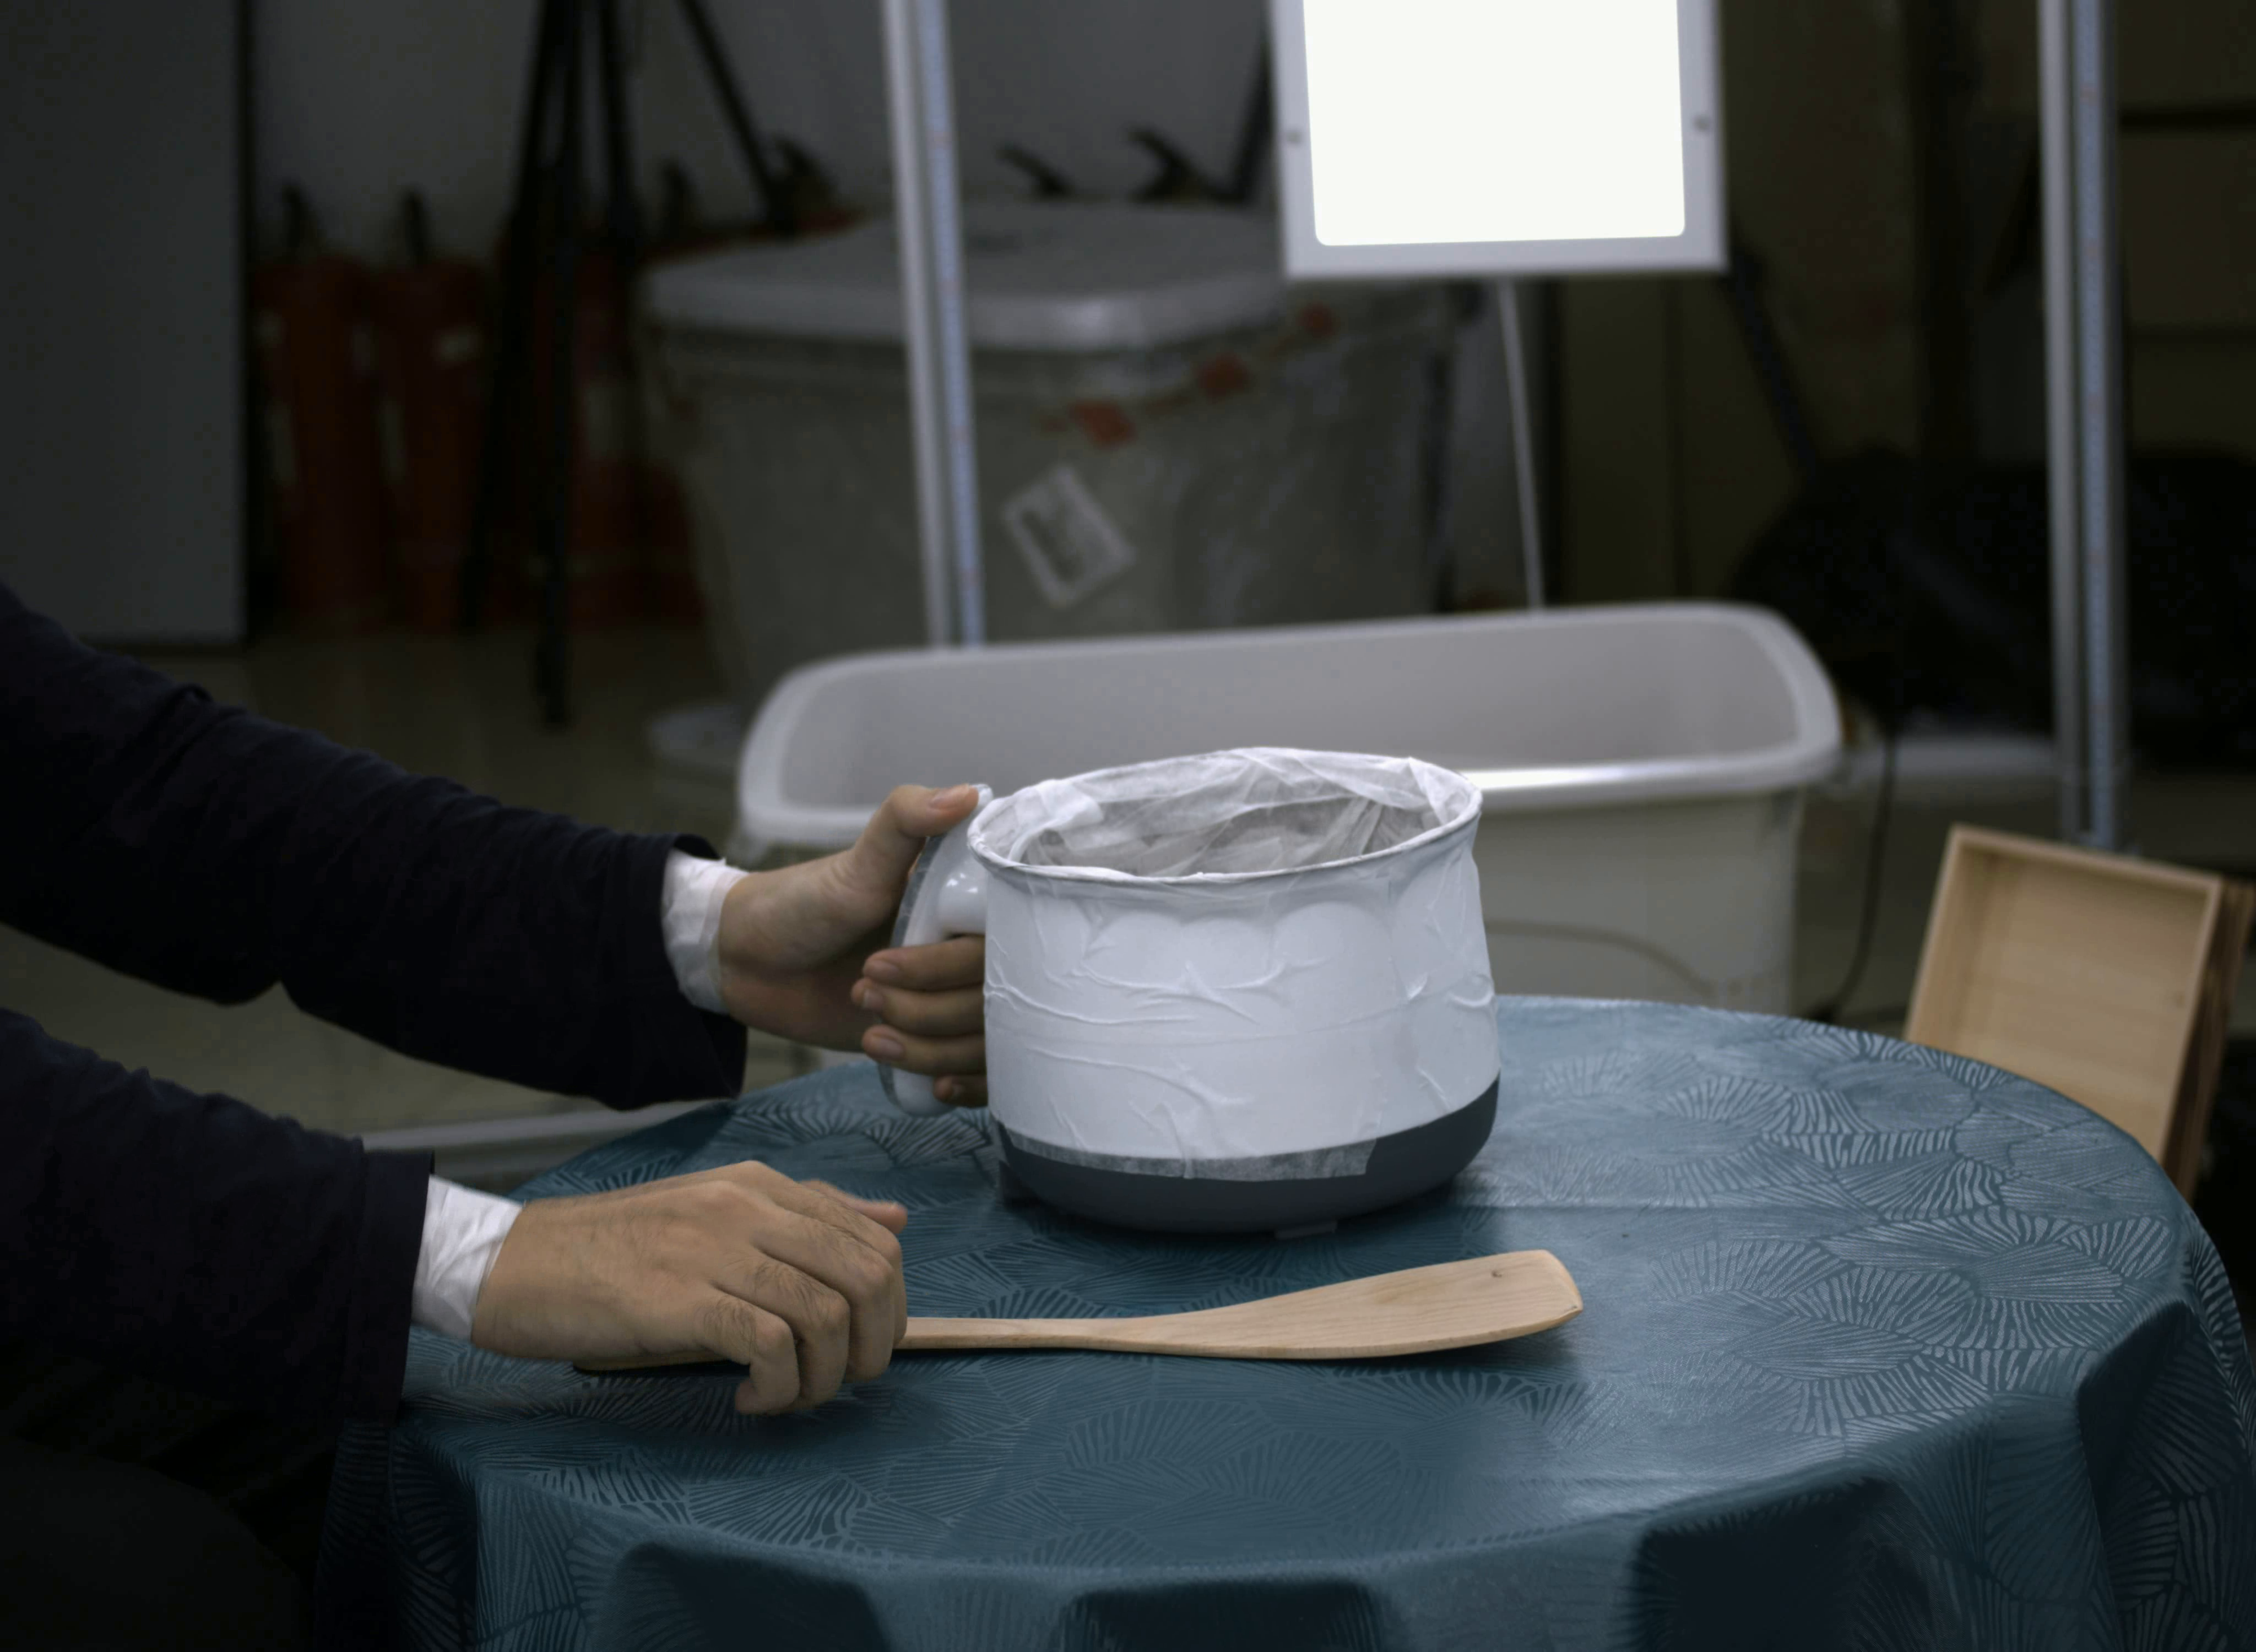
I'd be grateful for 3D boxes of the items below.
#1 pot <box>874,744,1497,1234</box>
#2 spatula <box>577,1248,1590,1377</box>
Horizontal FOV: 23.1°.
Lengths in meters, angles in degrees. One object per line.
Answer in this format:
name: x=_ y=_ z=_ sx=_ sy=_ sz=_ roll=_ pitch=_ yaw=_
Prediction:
pot: x=0.014 y=0.052 z=1.900 sx=0.238 sy=0.137 sz=0.174 roll=5 pitch=15 yaw=30
spatula: x=-0.015 y=0.157 z=1.750 sx=0.329 sy=0.016 sz=0.079 roll=-4 pitch=13 yaw=10
